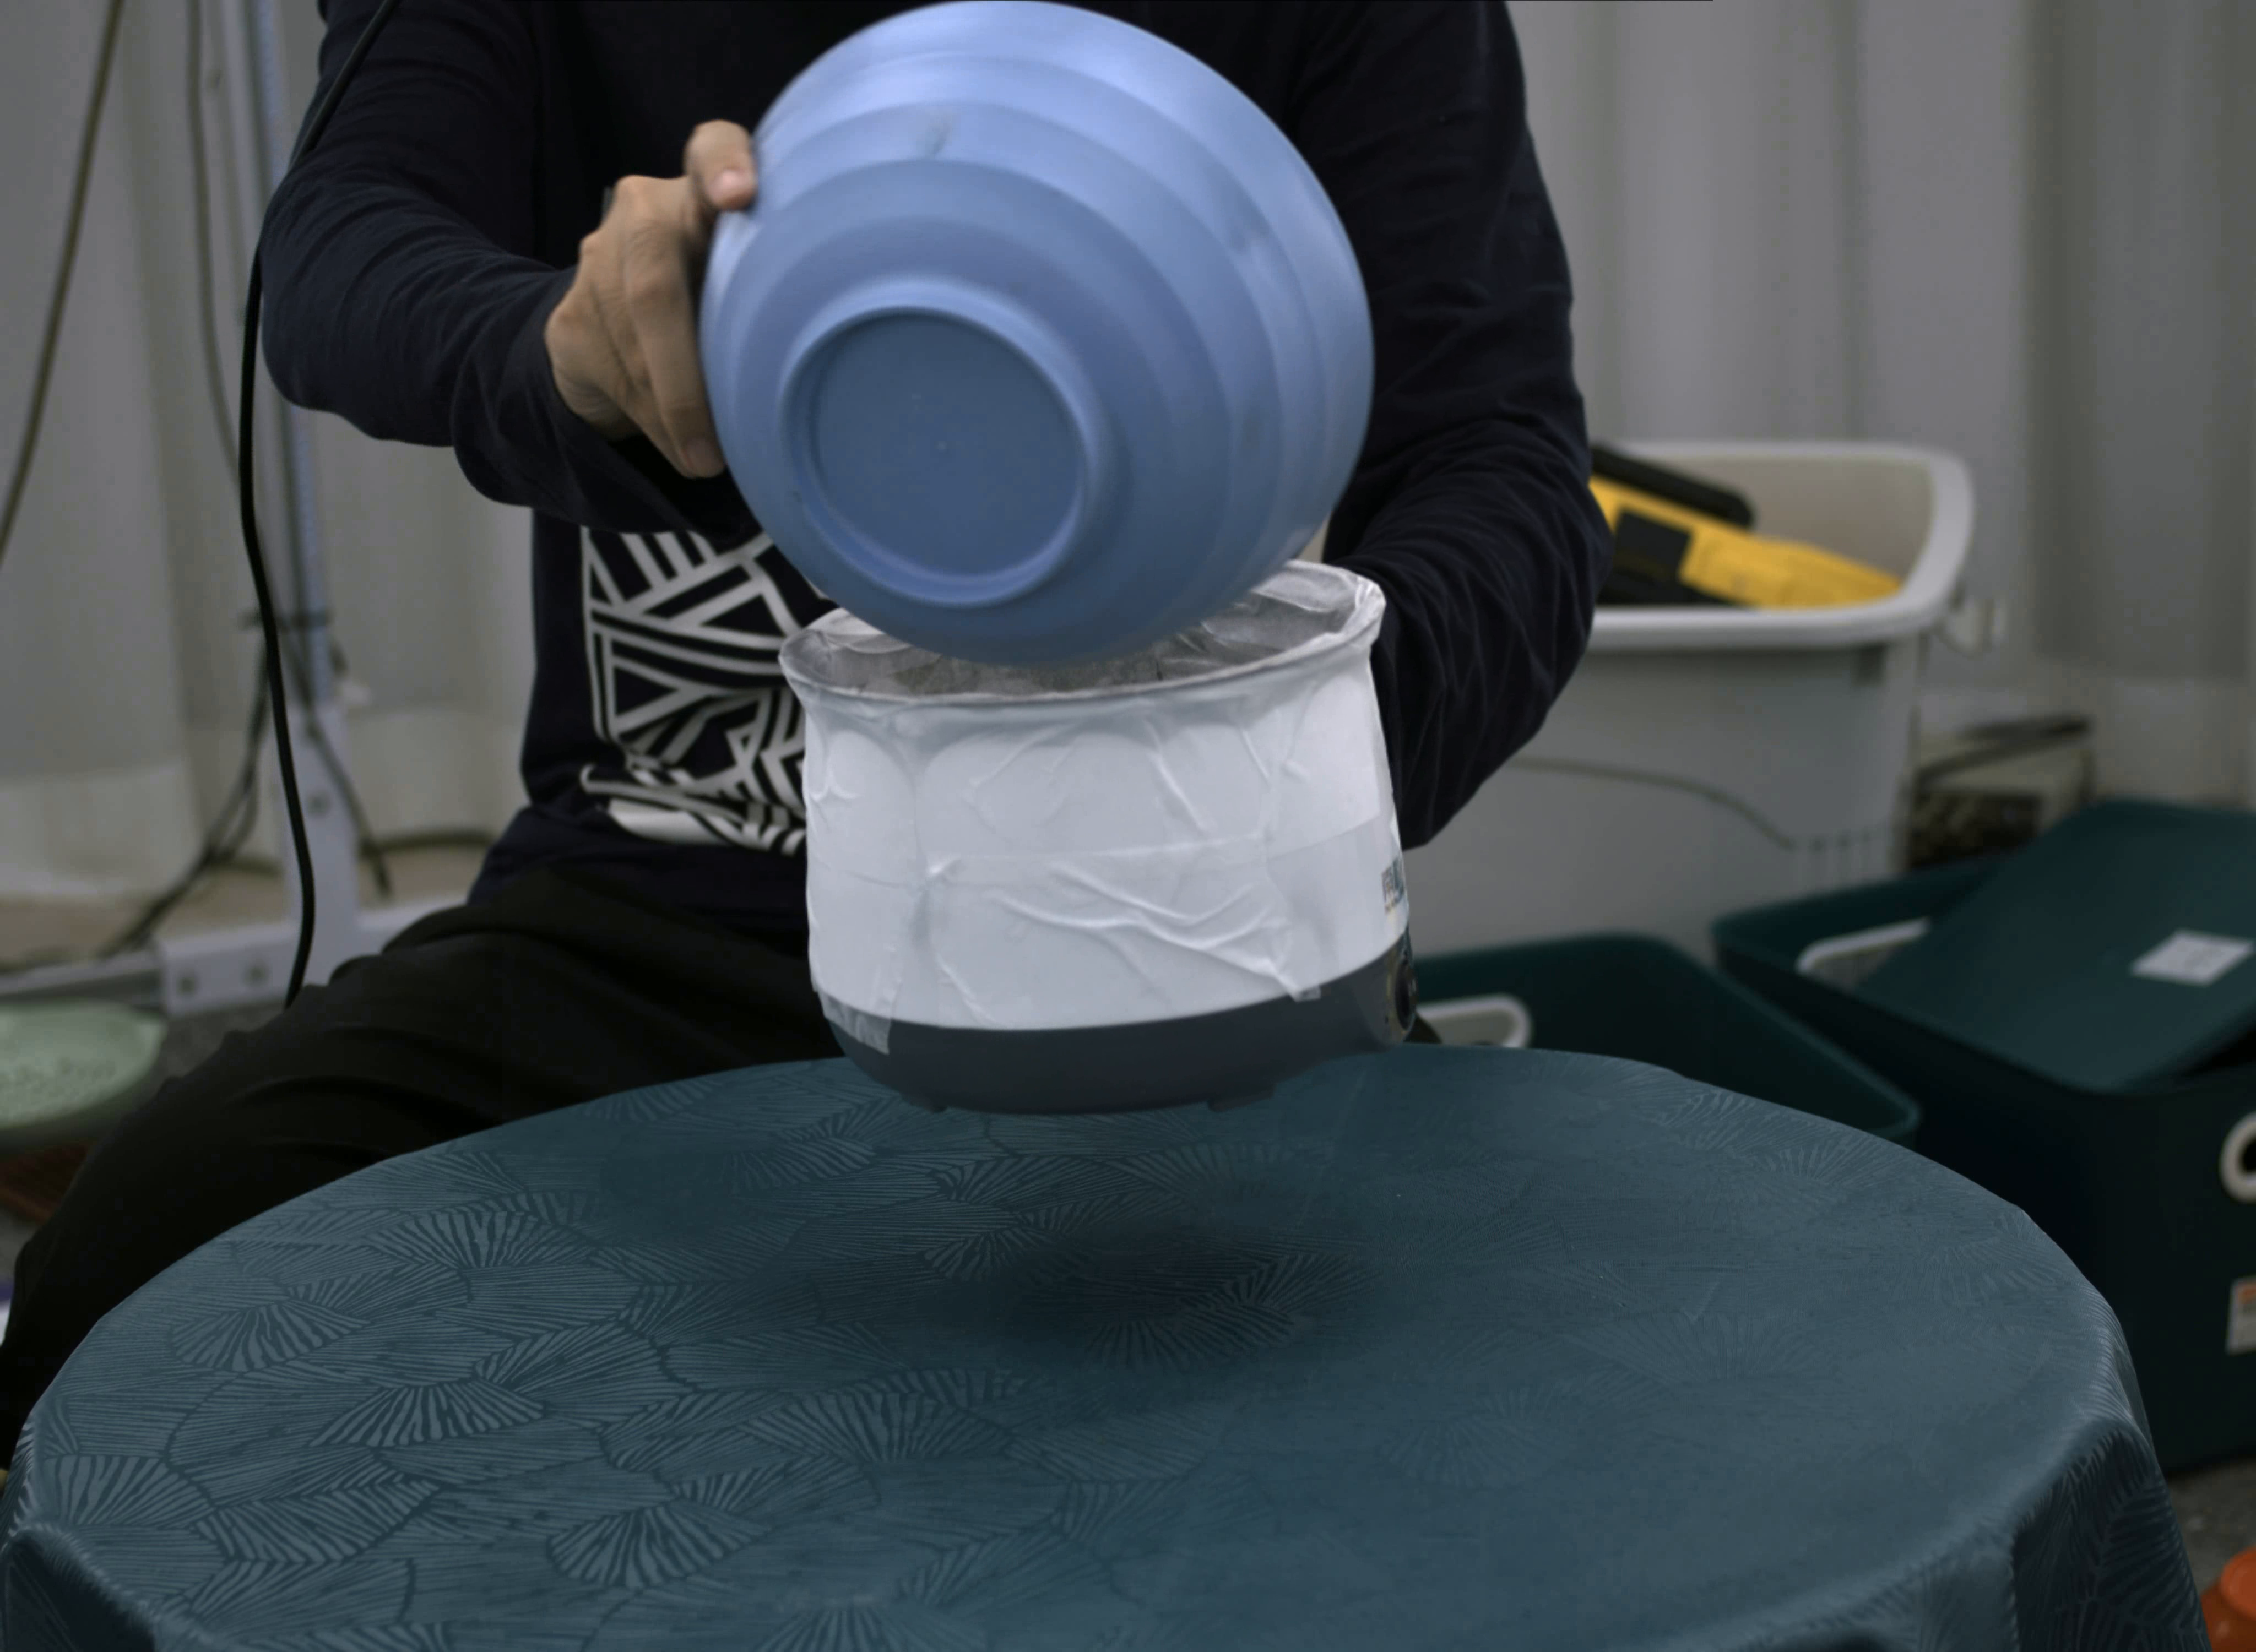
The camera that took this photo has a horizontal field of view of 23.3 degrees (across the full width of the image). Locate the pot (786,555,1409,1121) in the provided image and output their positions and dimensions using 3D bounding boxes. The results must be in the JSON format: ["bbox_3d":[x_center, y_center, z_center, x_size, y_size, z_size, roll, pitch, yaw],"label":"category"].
[{"bbox_3d":[-0.002,-0.005,1.629,0.178,0.136,0.235,1,16,13],"label":"pot"}]

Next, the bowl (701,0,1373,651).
[{"bbox_3d":[-0.038,-0.125,1.526,0.196,0.194,0.096,3,32,21],"label":"bowl"}]
